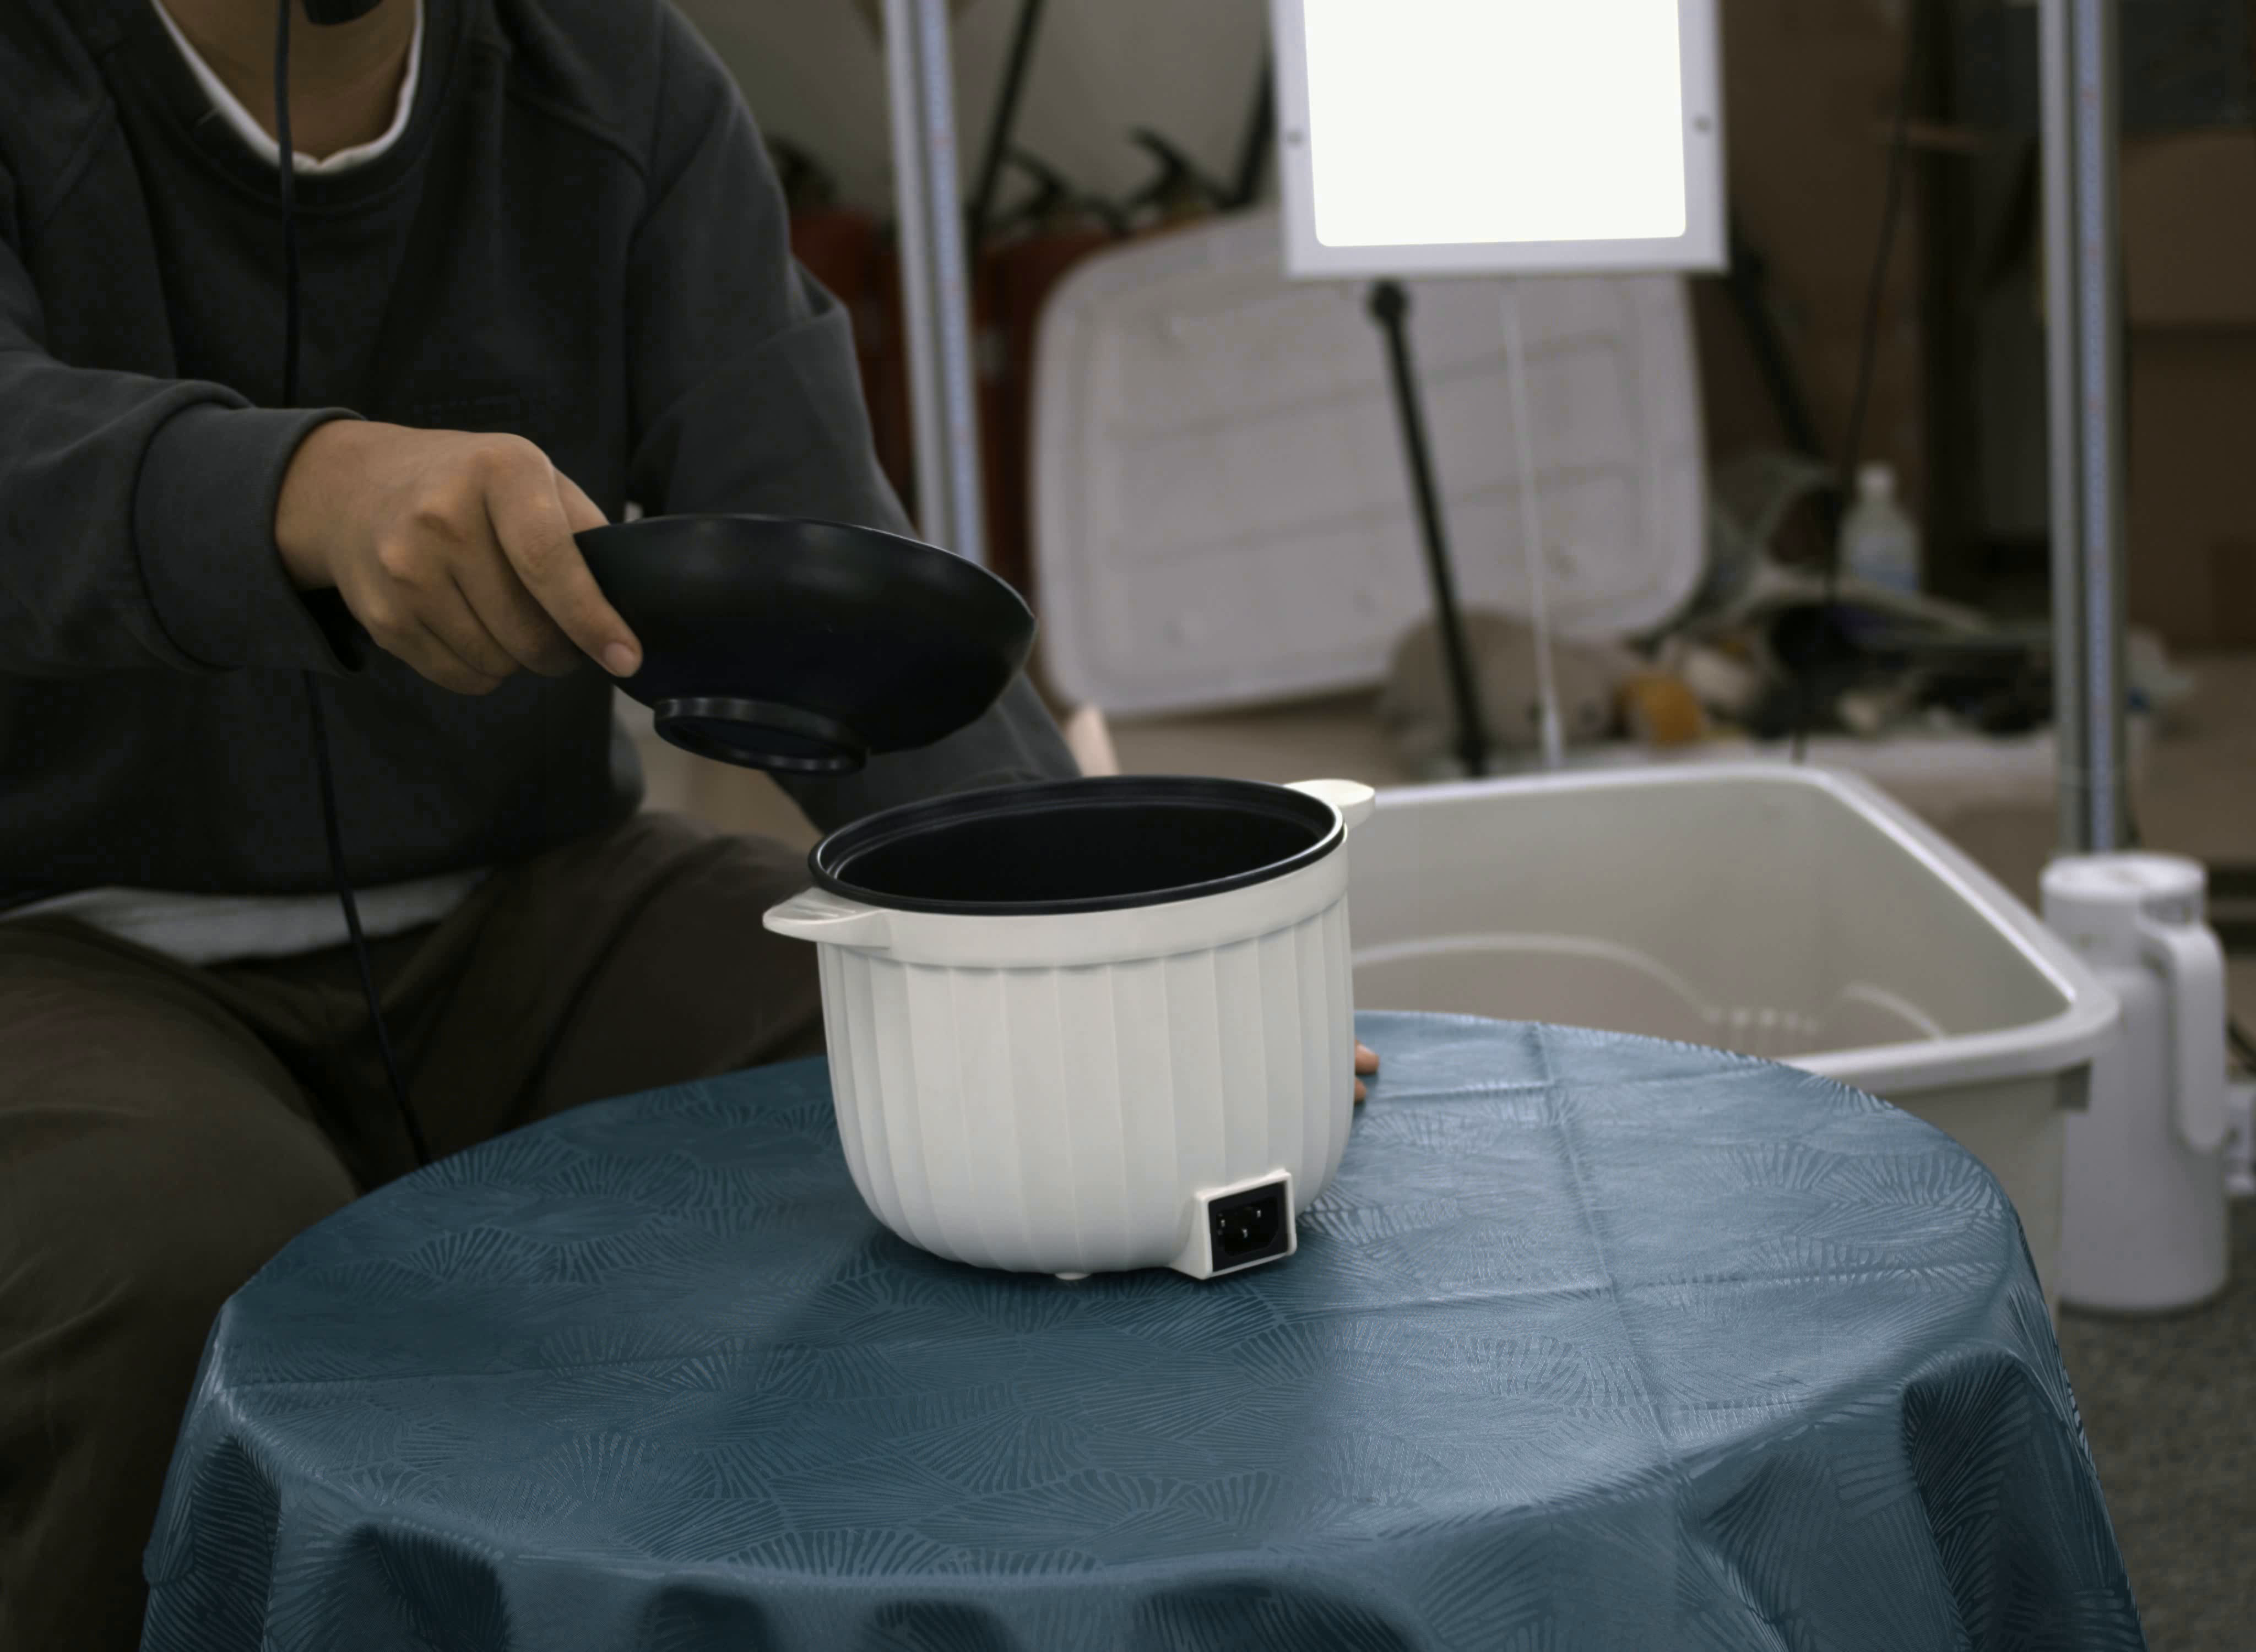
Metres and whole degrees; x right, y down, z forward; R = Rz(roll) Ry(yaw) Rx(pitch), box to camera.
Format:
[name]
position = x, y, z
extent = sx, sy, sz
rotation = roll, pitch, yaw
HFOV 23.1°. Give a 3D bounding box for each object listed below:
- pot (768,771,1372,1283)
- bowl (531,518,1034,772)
[pot]
position = -0.016, 0.067, 1.855
extent = 0.234, 0.143, 0.194
rotation = -12, 18, -32
[bowl]
position = -0.113, -0.056, 1.785
extent = 0.167, 0.066, 0.140
rotation = 14, -13, -28
